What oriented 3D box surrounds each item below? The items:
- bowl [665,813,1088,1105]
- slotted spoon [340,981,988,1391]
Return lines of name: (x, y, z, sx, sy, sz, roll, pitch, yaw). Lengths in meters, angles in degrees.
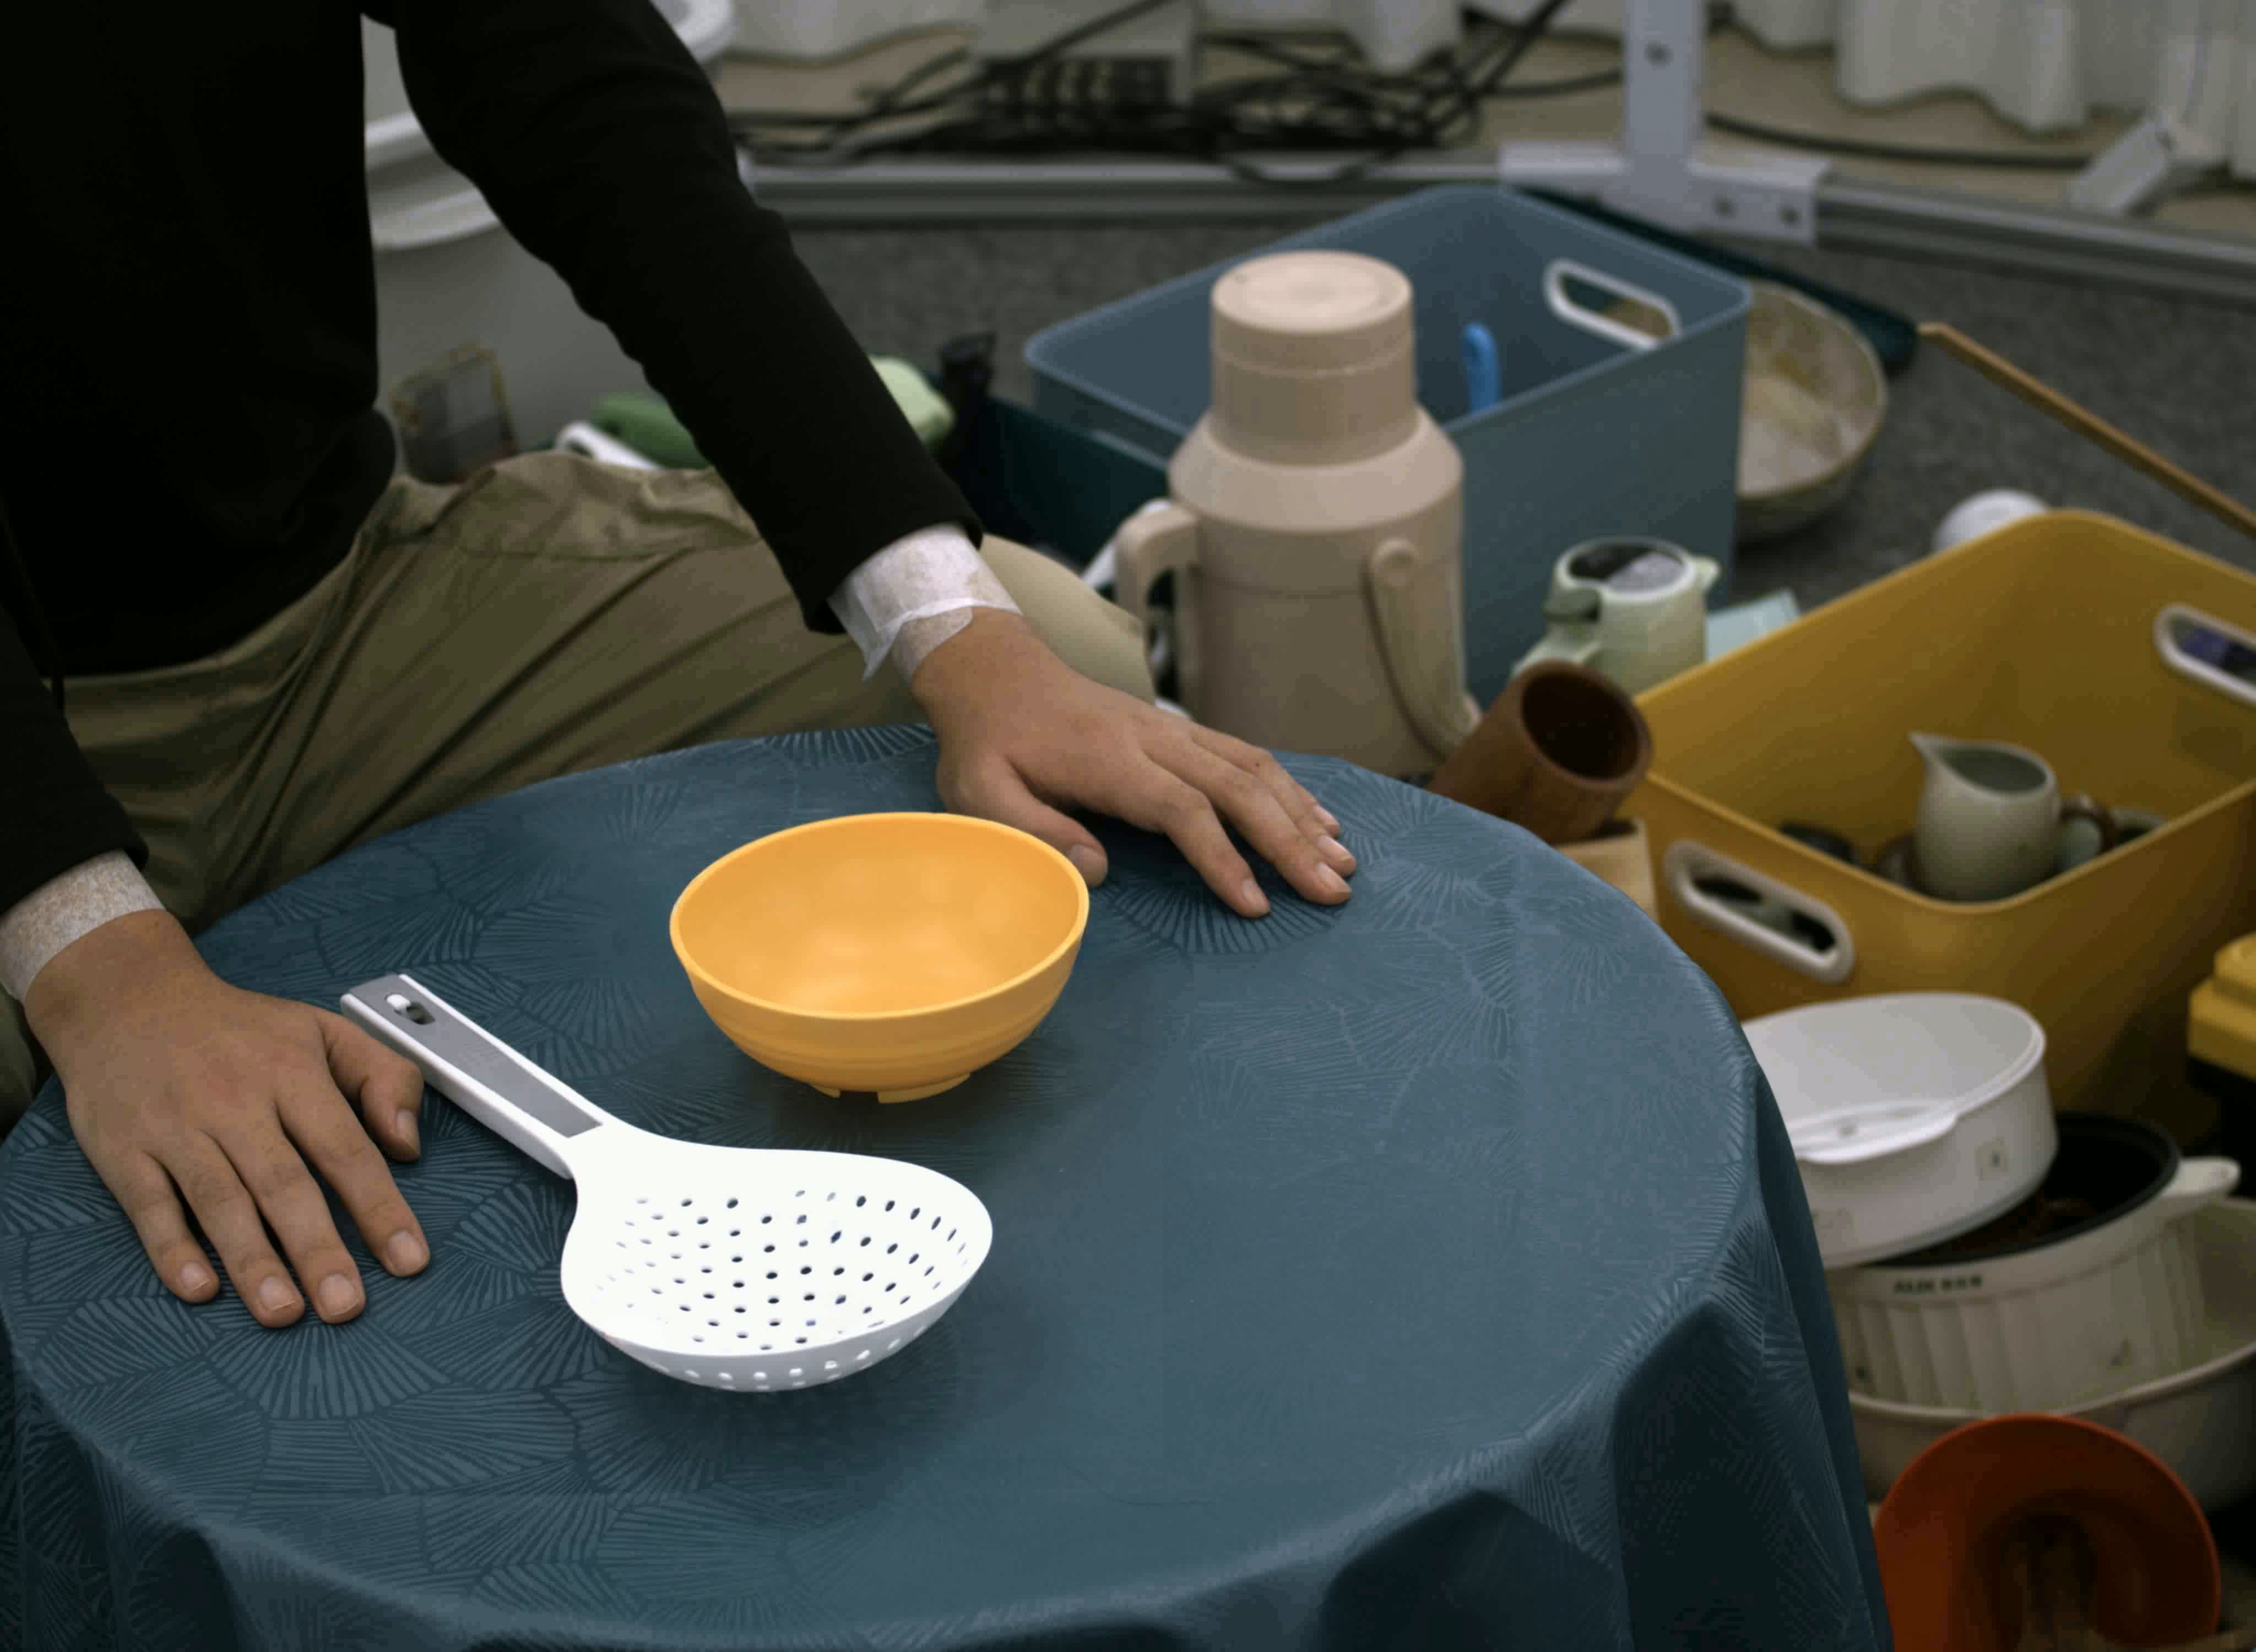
bowl: (-0.086, 0.055, 1.937, 0.144, 0.059, 0.147, 0, 28, 1)
slotted spoon: (-0.171, 0.111, 1.849, 0.137, 0.045, 0.350, -19, 30, -30)
